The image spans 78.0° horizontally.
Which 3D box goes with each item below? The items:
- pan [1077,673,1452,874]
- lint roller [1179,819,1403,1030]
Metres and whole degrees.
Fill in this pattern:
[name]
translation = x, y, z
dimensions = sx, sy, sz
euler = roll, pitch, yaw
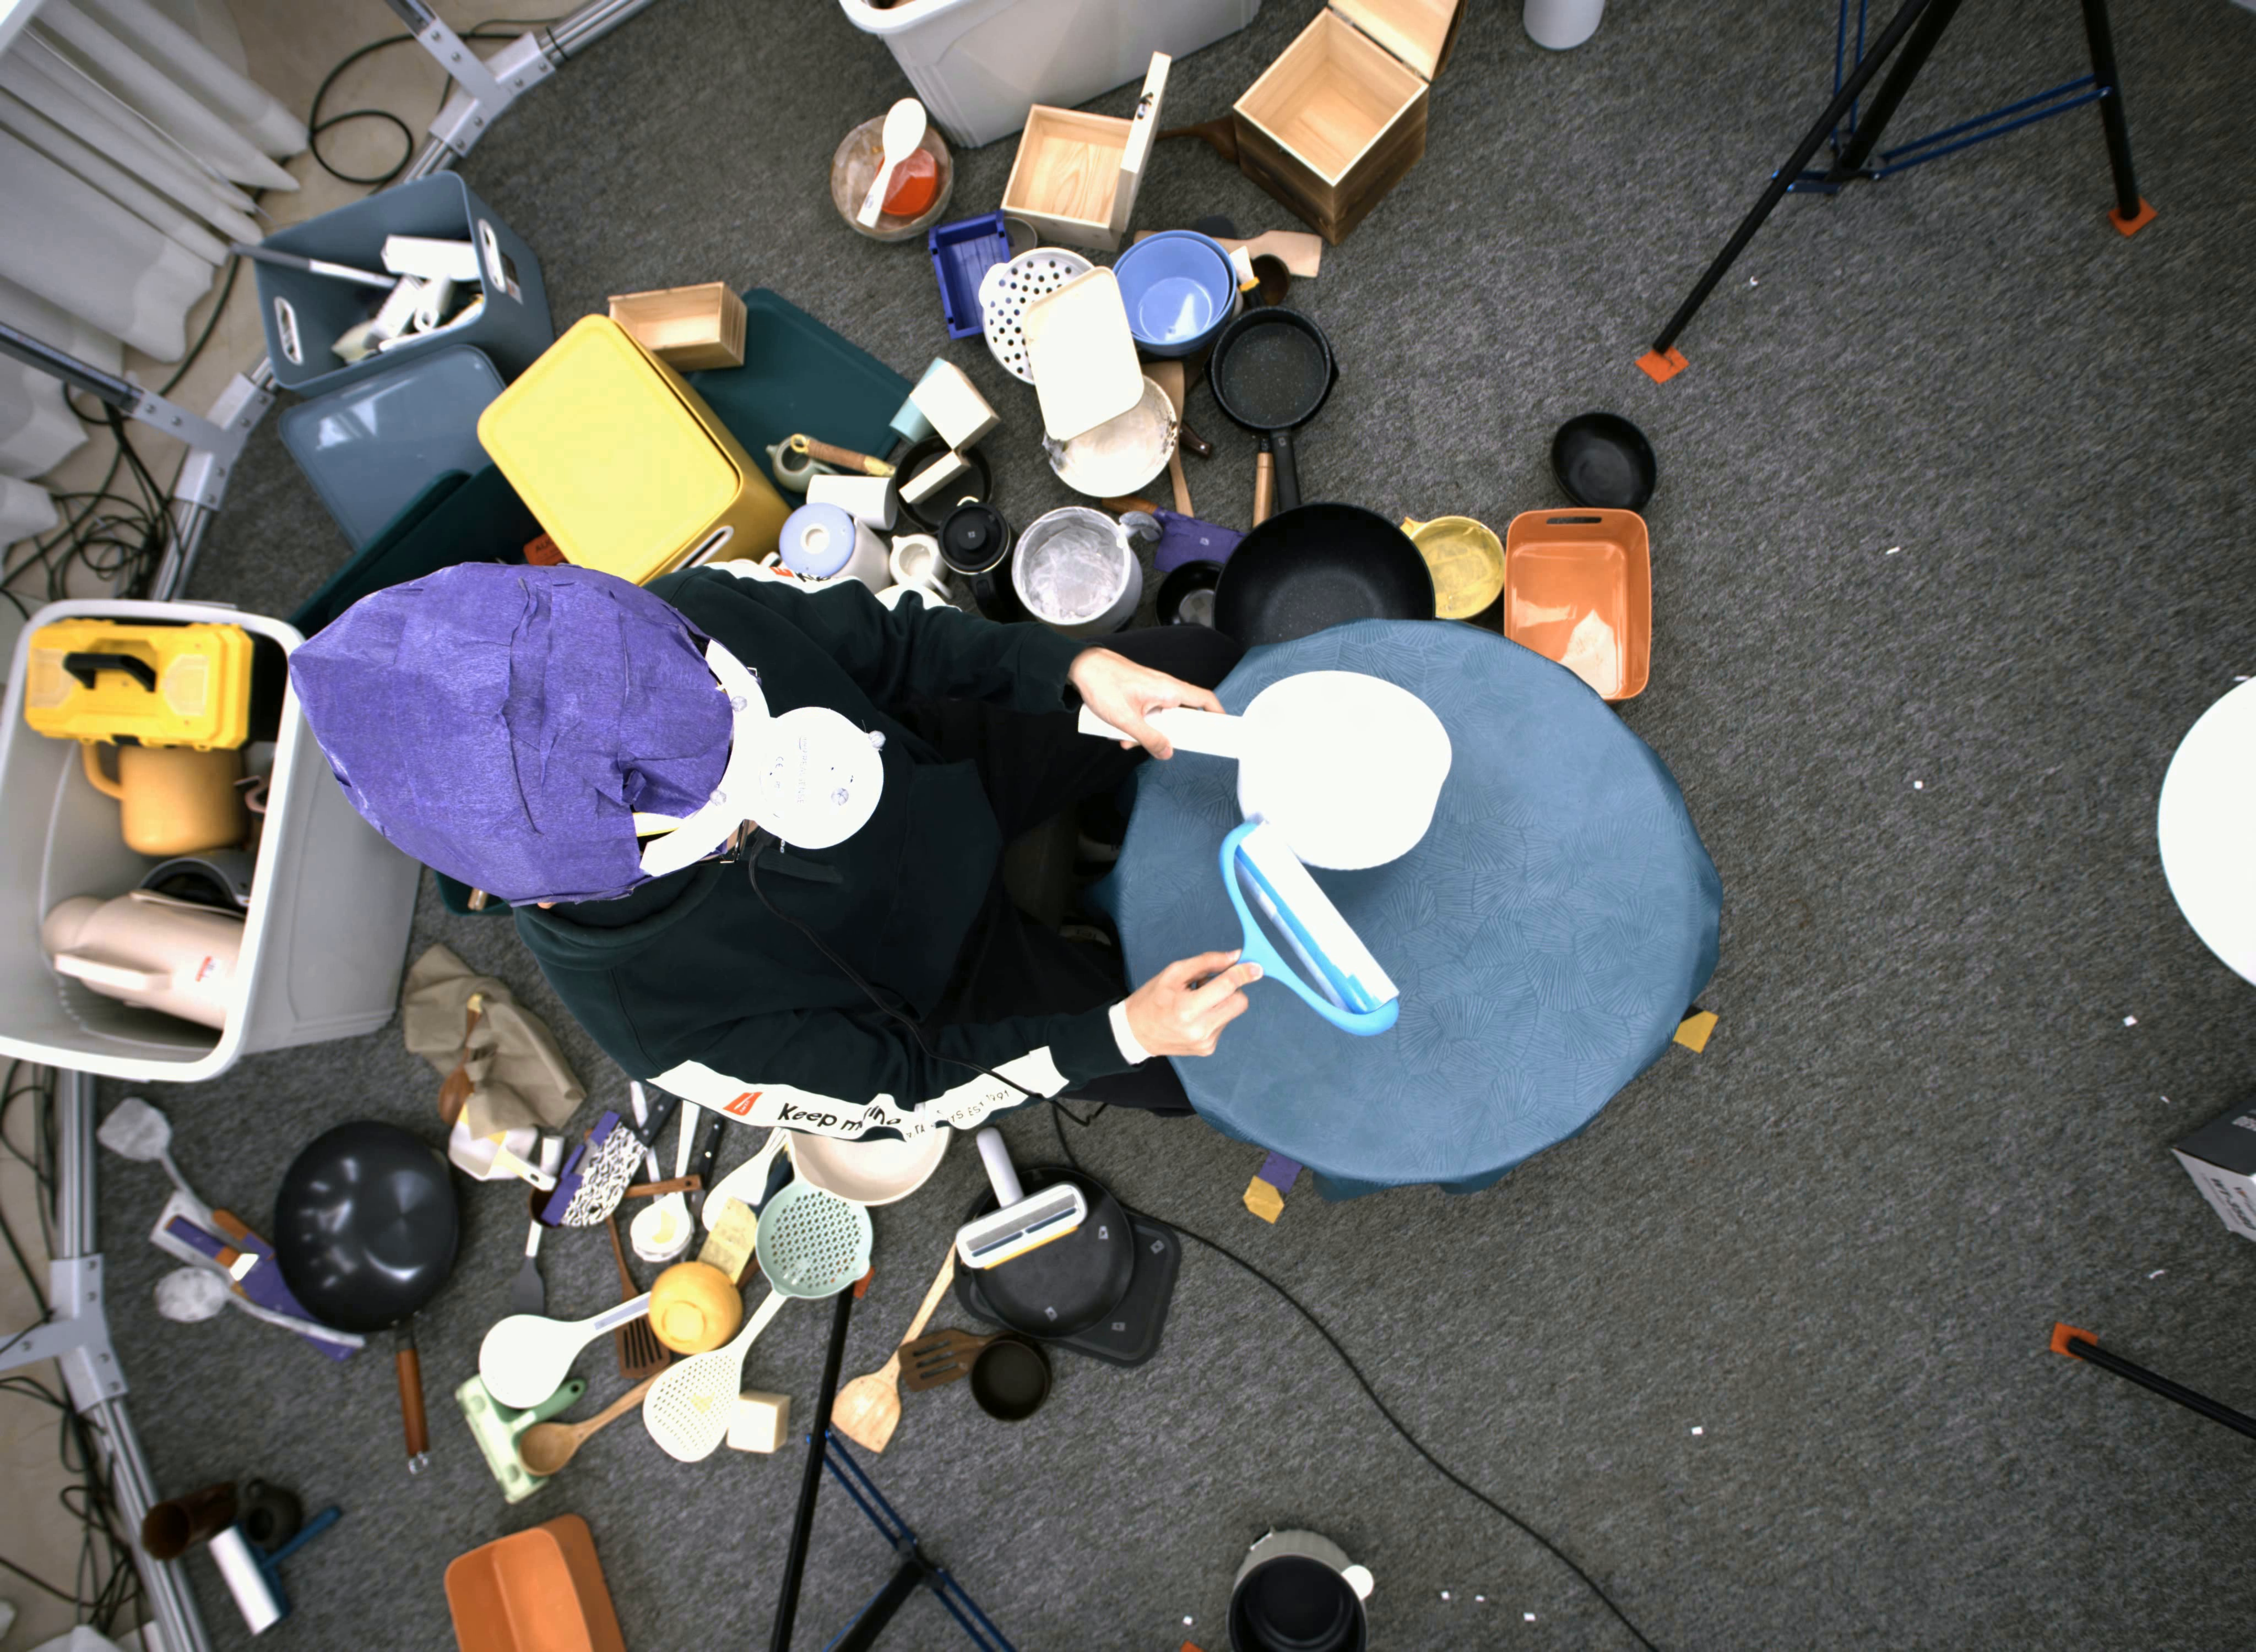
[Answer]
[pan]
translation = 0.128, -0.057, 1.340
dimensions = 0.355, 0.104, 0.195
euler = 7, 48, 7
[lint roller]
translation = 0.121, 0.122, 1.252
dimensions = 0.180, 0.068, 0.227
euler = -39, 79, -4
